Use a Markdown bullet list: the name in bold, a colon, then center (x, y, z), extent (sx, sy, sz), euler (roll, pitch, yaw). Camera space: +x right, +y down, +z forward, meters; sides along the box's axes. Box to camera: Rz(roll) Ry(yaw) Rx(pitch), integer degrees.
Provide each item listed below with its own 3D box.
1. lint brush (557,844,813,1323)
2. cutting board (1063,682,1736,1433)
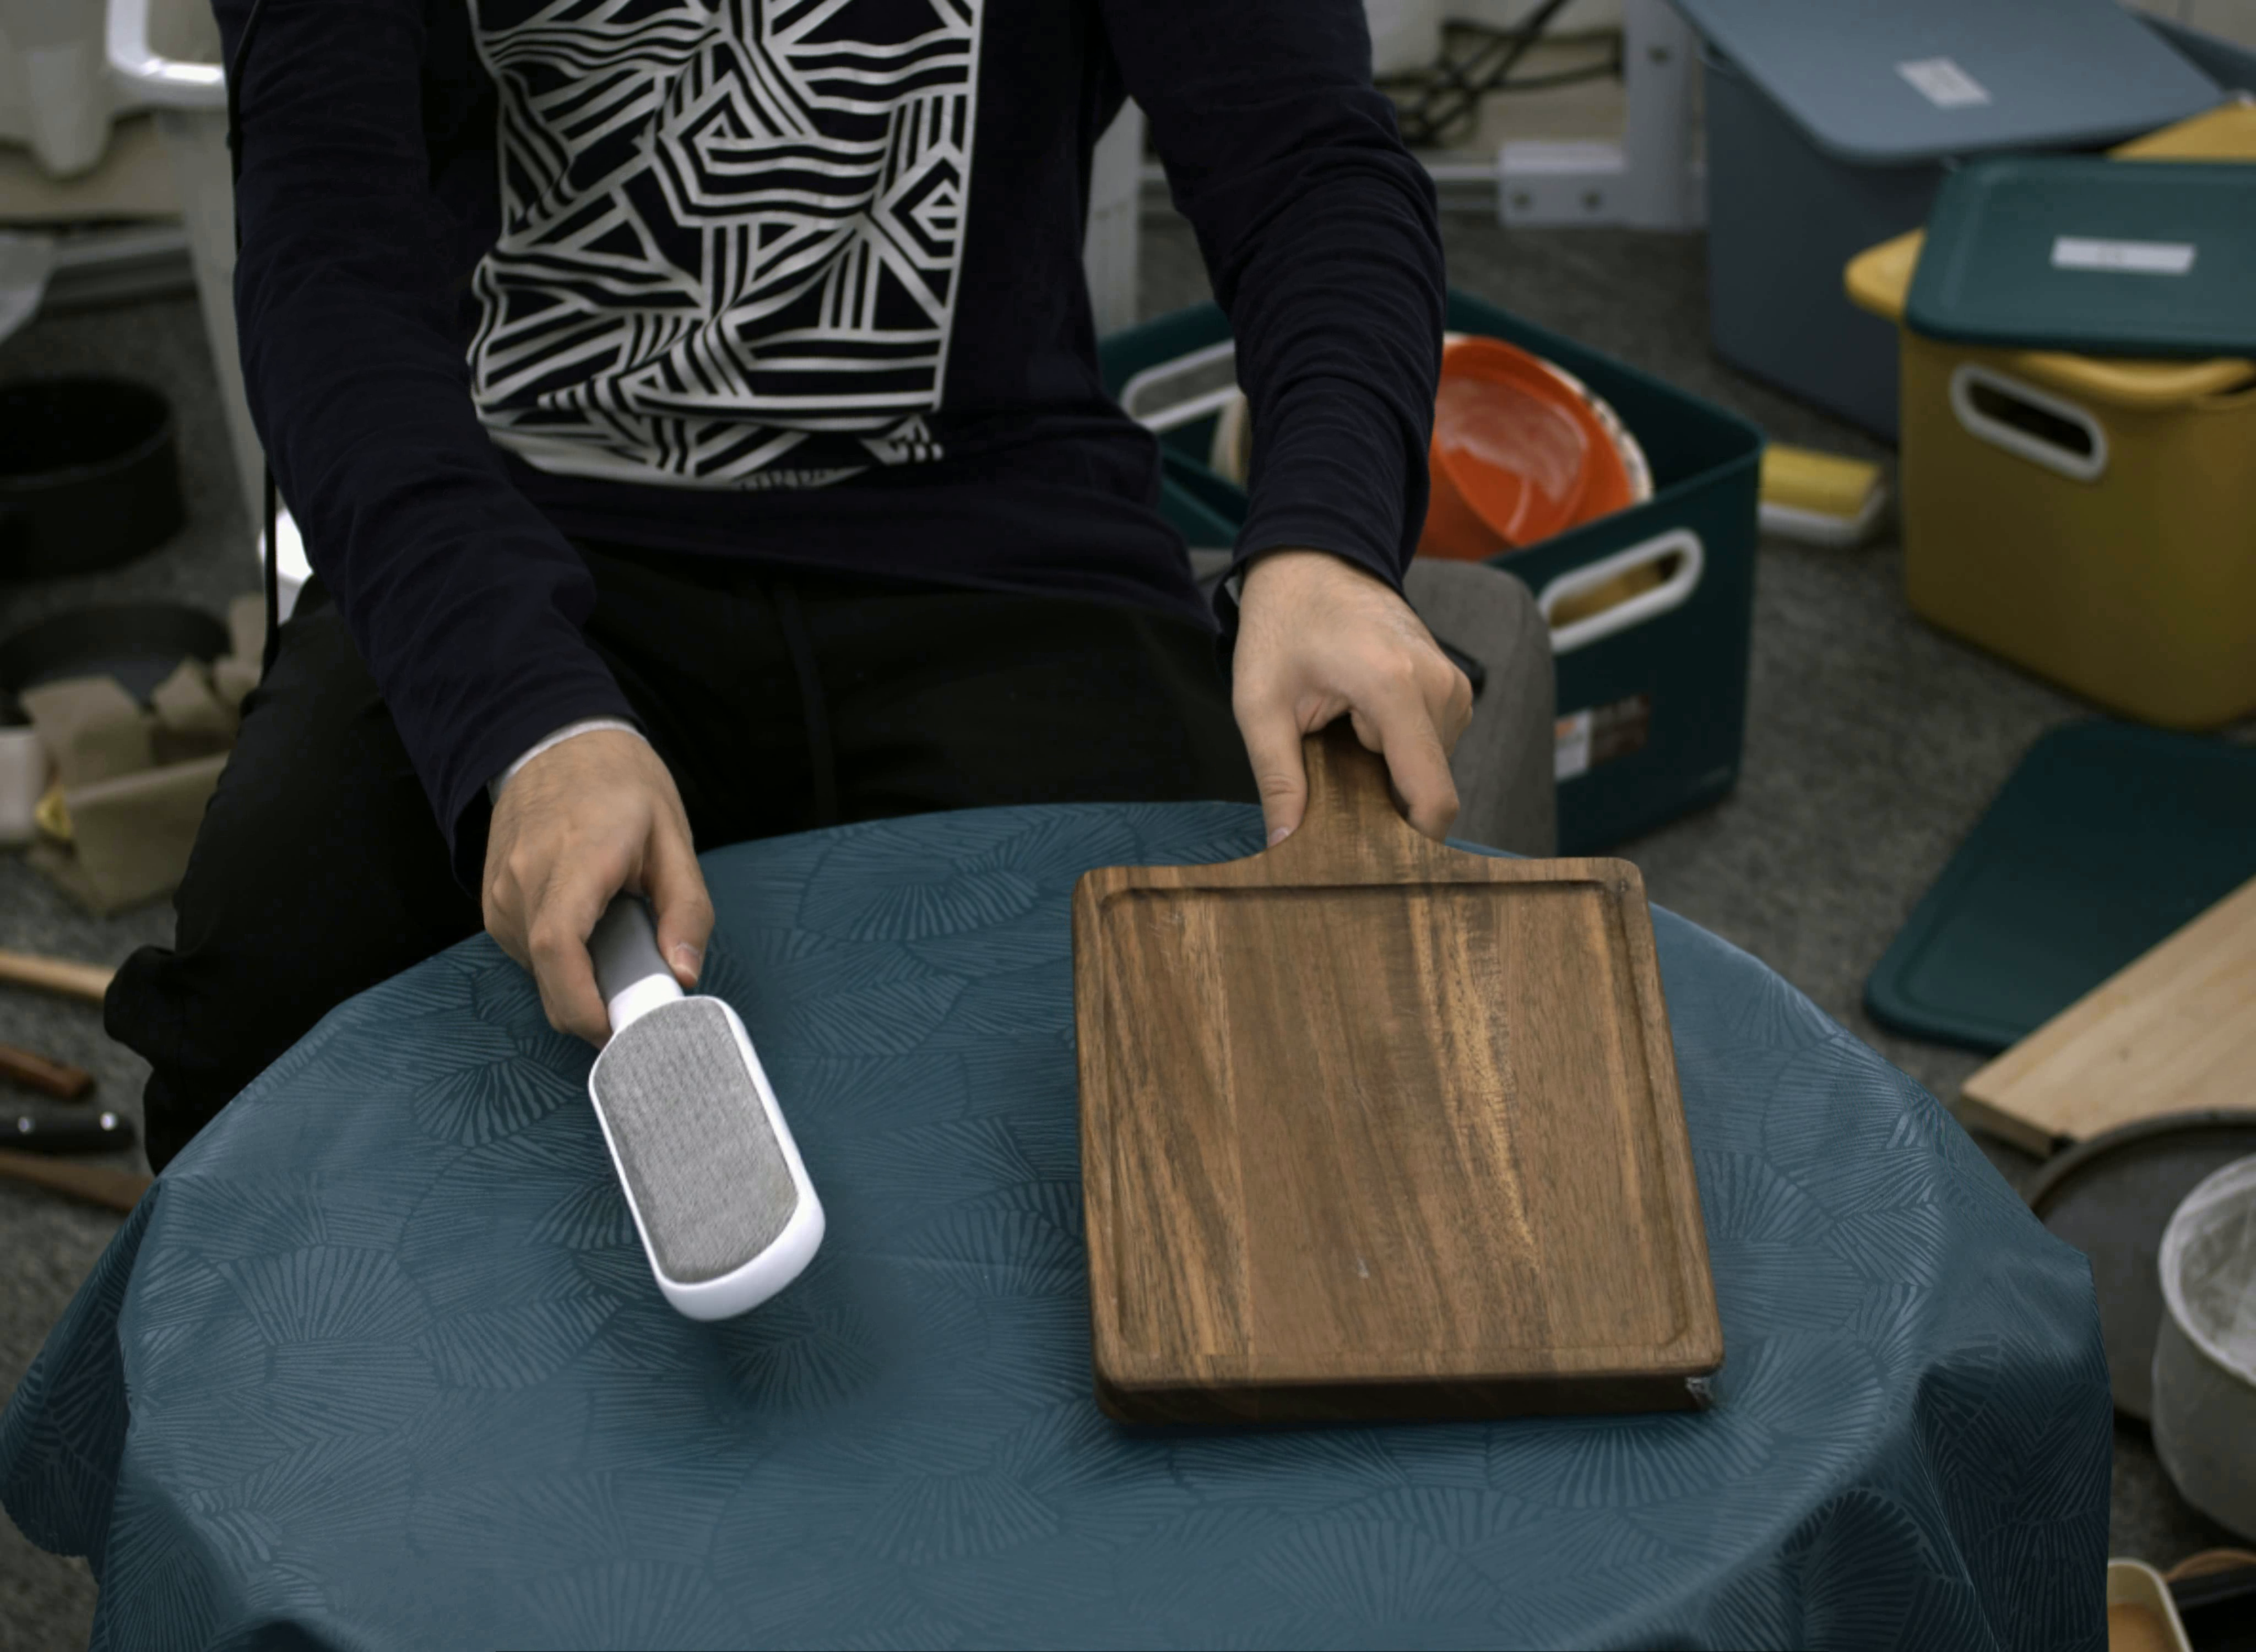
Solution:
- **lint brush**: center (-0.154, 0.078, 1.862), extent (0.060, 0.021, 0.312), euler (-34, 29, 2)
- **cutting board**: center (0.080, 0.067, 1.861), extent (0.200, 0.023, 0.358), euler (-2, 38, -2)
